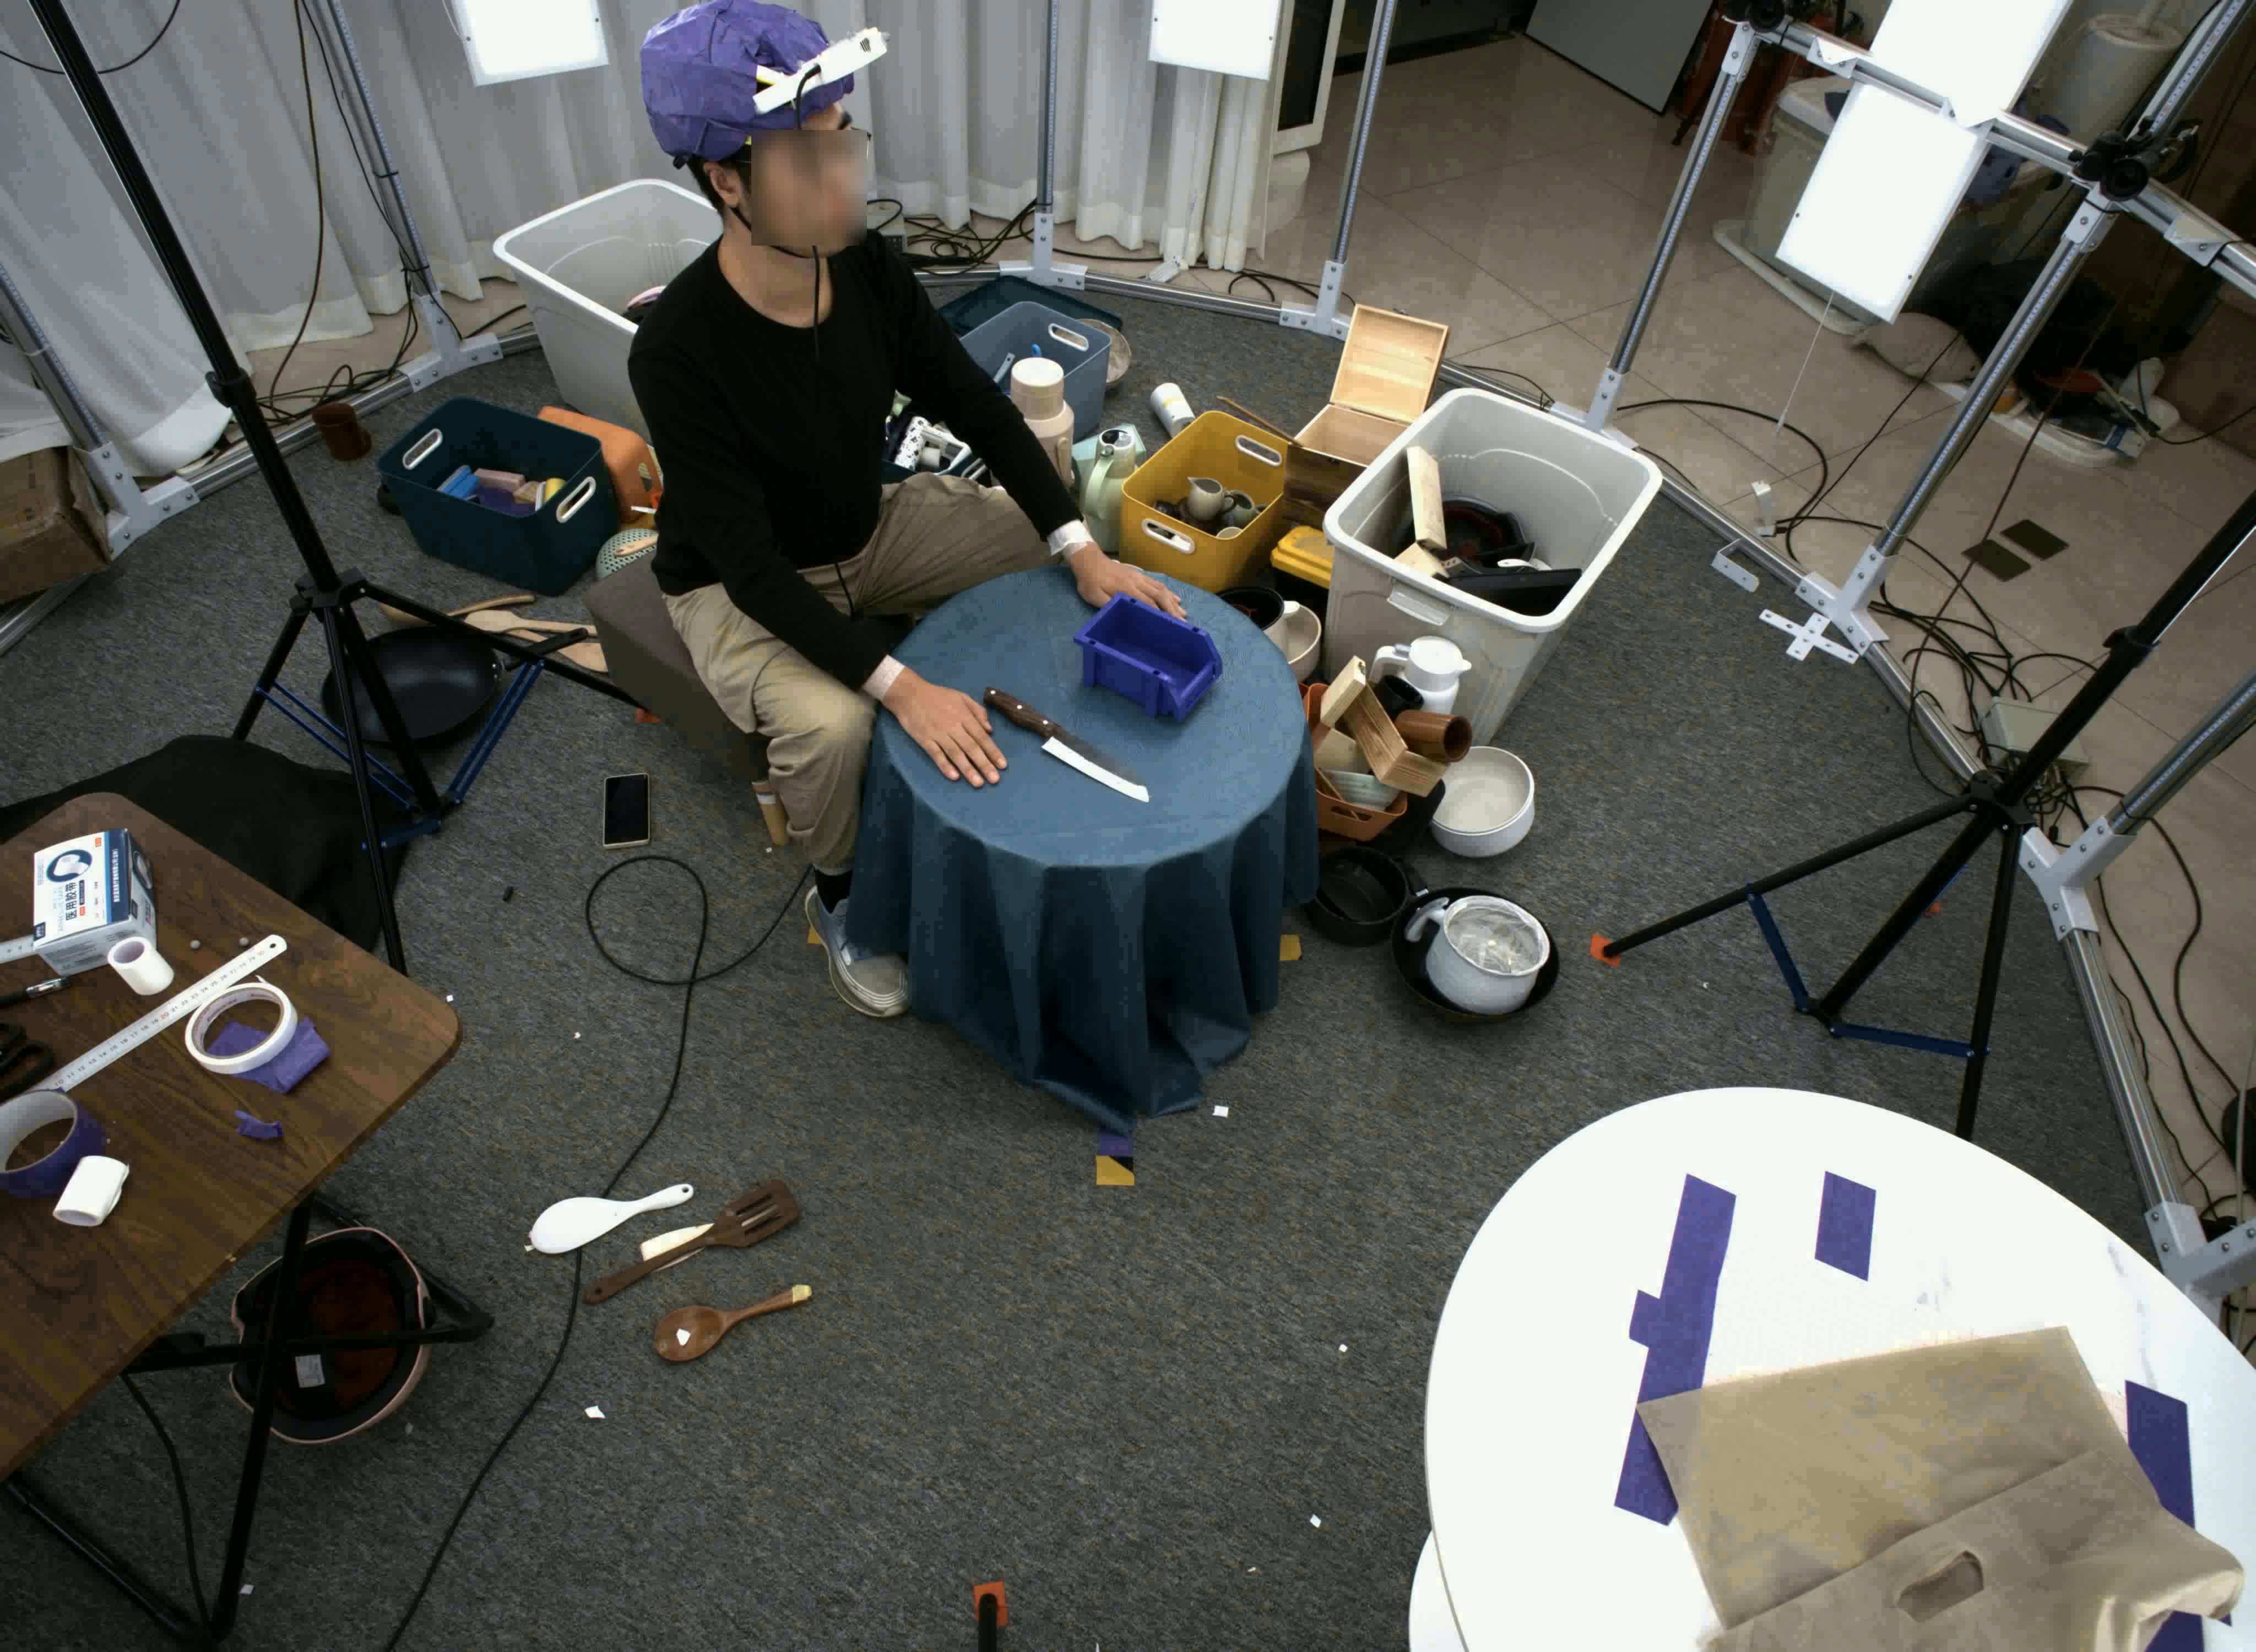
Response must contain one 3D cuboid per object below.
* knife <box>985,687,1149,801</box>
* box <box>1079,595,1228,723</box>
[{"bbox_3d":[-0.085,-0.112,1.752,0.292,0.019,0.051,34,60,20],"label":"knife"},{"bbox_3d":[0.039,-0.235,1.823,0.181,0.080,0.126,27,52,21],"label":"box"}]
